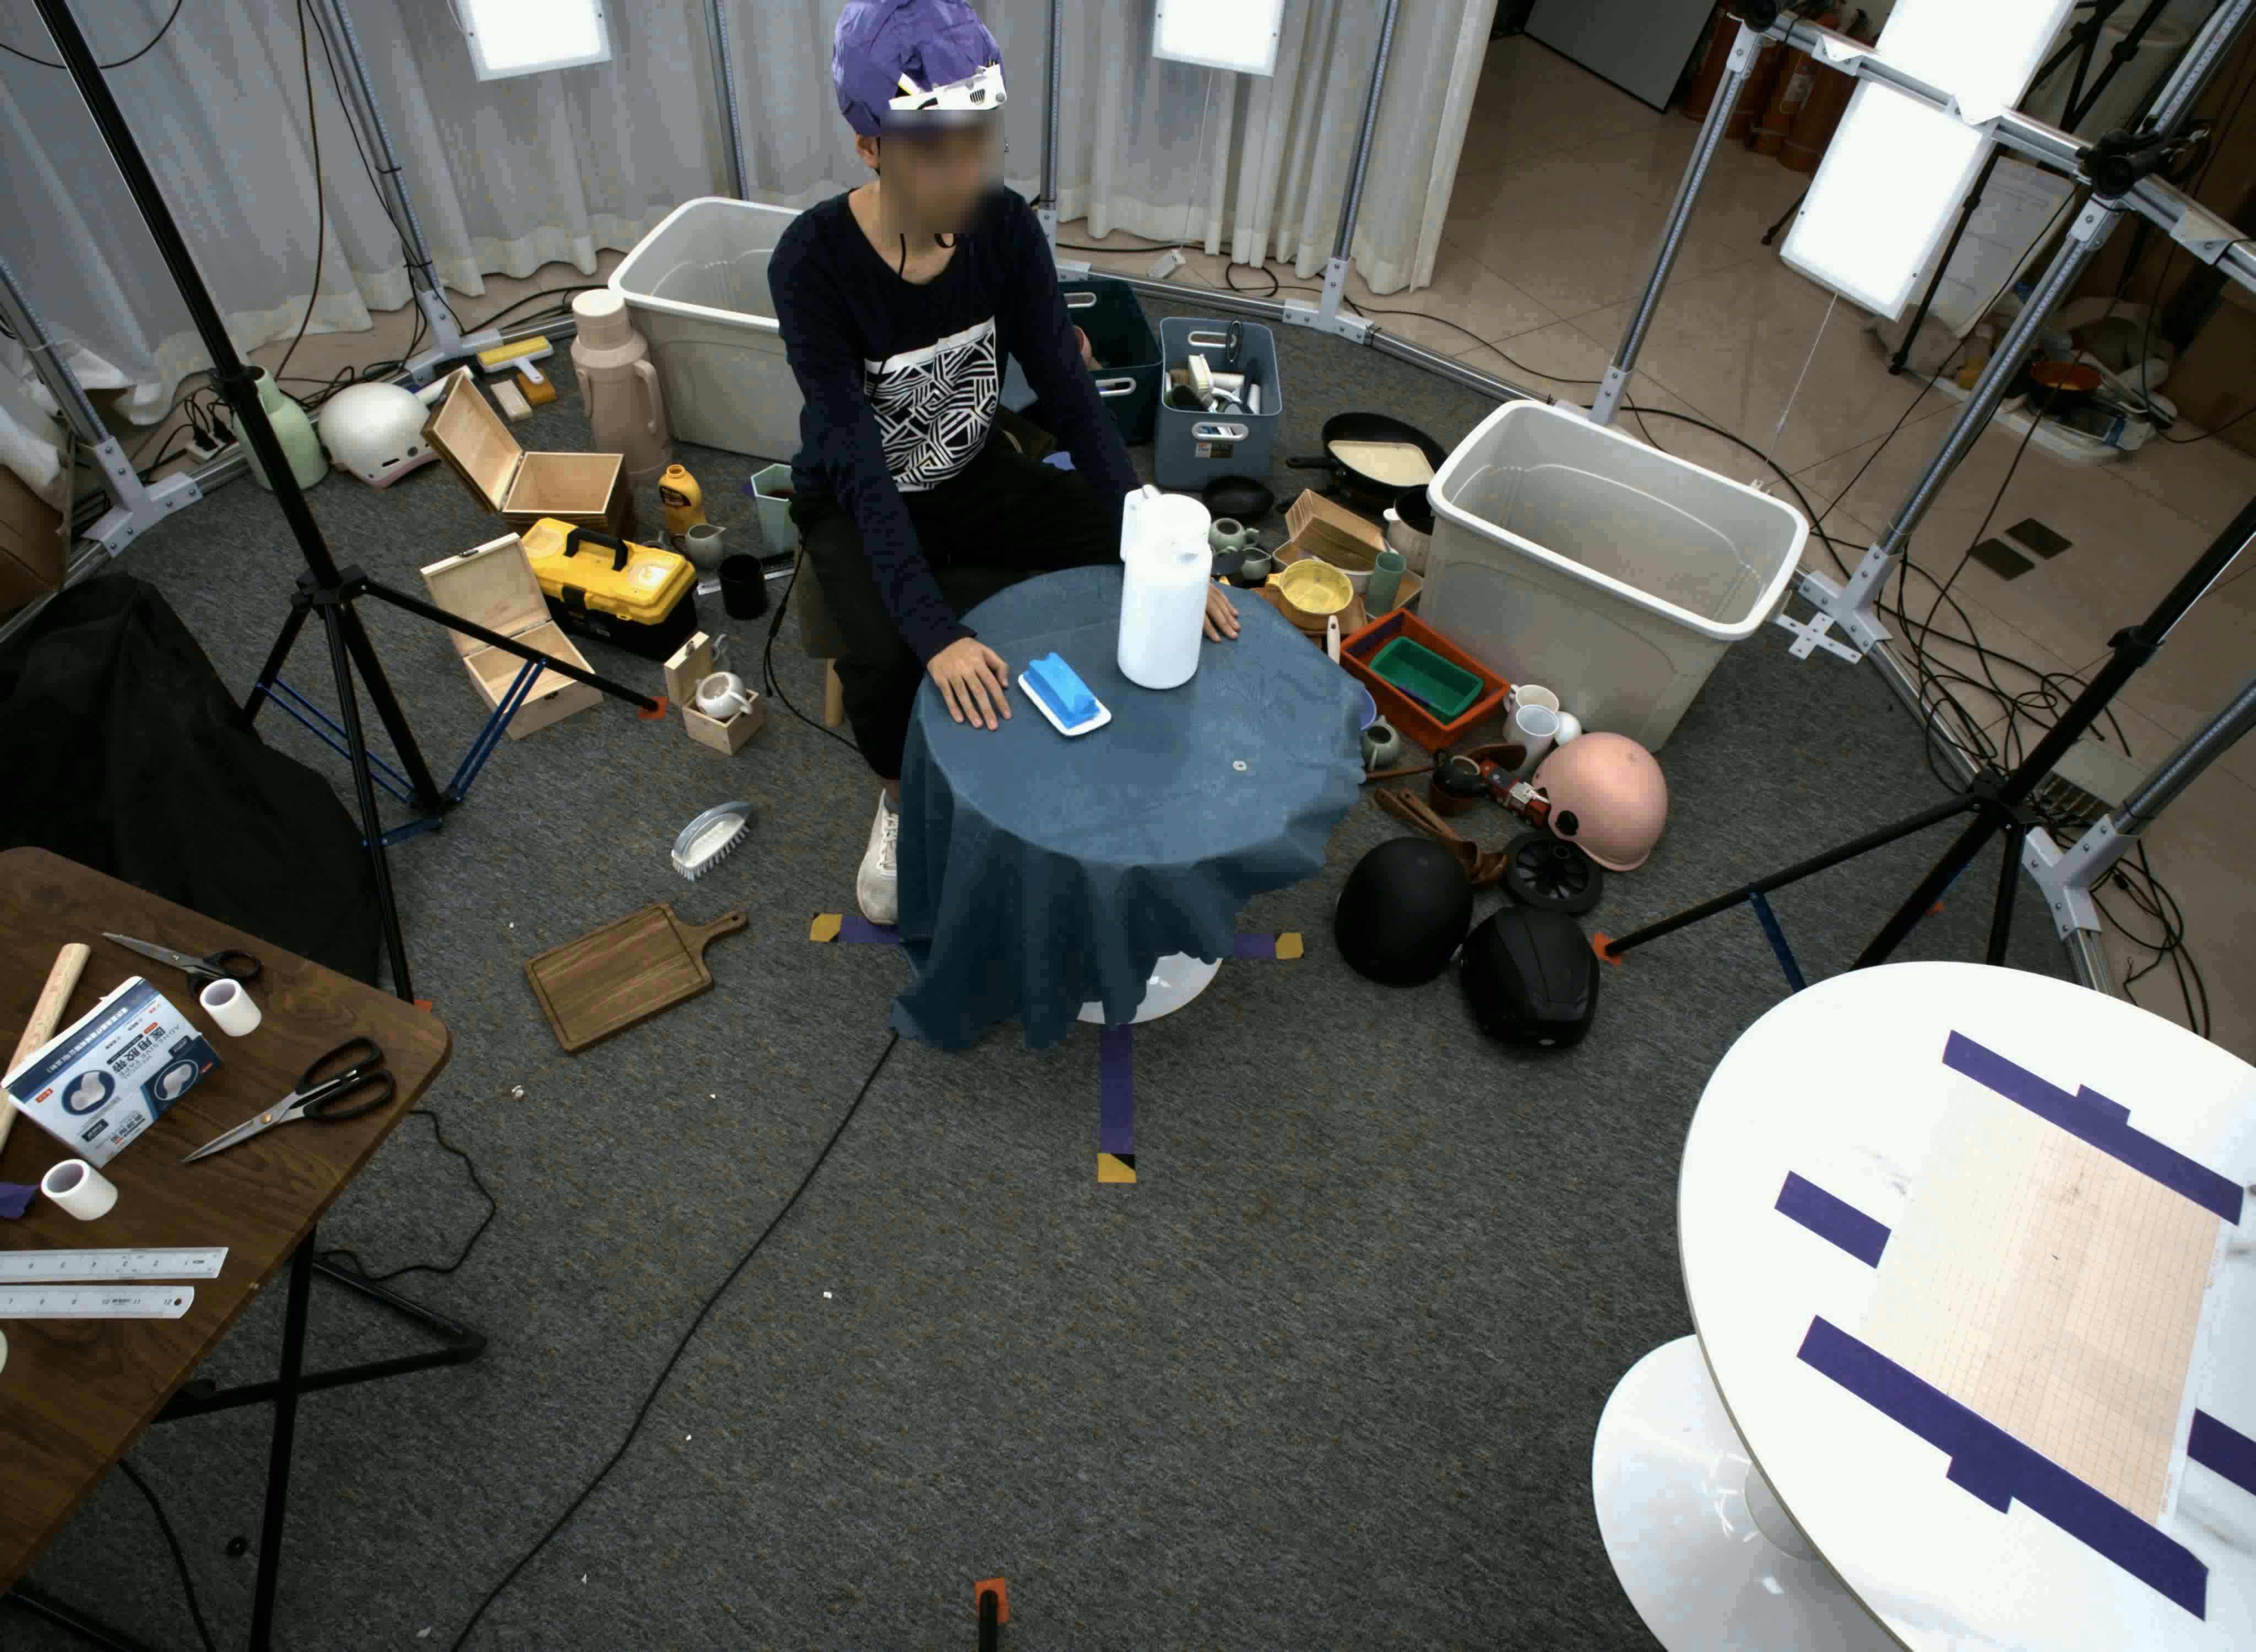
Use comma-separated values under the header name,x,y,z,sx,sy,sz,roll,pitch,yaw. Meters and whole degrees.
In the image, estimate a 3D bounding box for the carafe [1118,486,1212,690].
name,x,y,z,sx,sy,sz,roll,pitch,yaw
carafe,0.041,-0.332,1.788,0.124,0.262,0.176,-23,53,-20

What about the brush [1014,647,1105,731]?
name,x,y,z,sx,sy,sz,roll,pitch,yaw
brush,-0.094,-0.198,1.793,0.084,0.054,0.147,-21,56,-24
